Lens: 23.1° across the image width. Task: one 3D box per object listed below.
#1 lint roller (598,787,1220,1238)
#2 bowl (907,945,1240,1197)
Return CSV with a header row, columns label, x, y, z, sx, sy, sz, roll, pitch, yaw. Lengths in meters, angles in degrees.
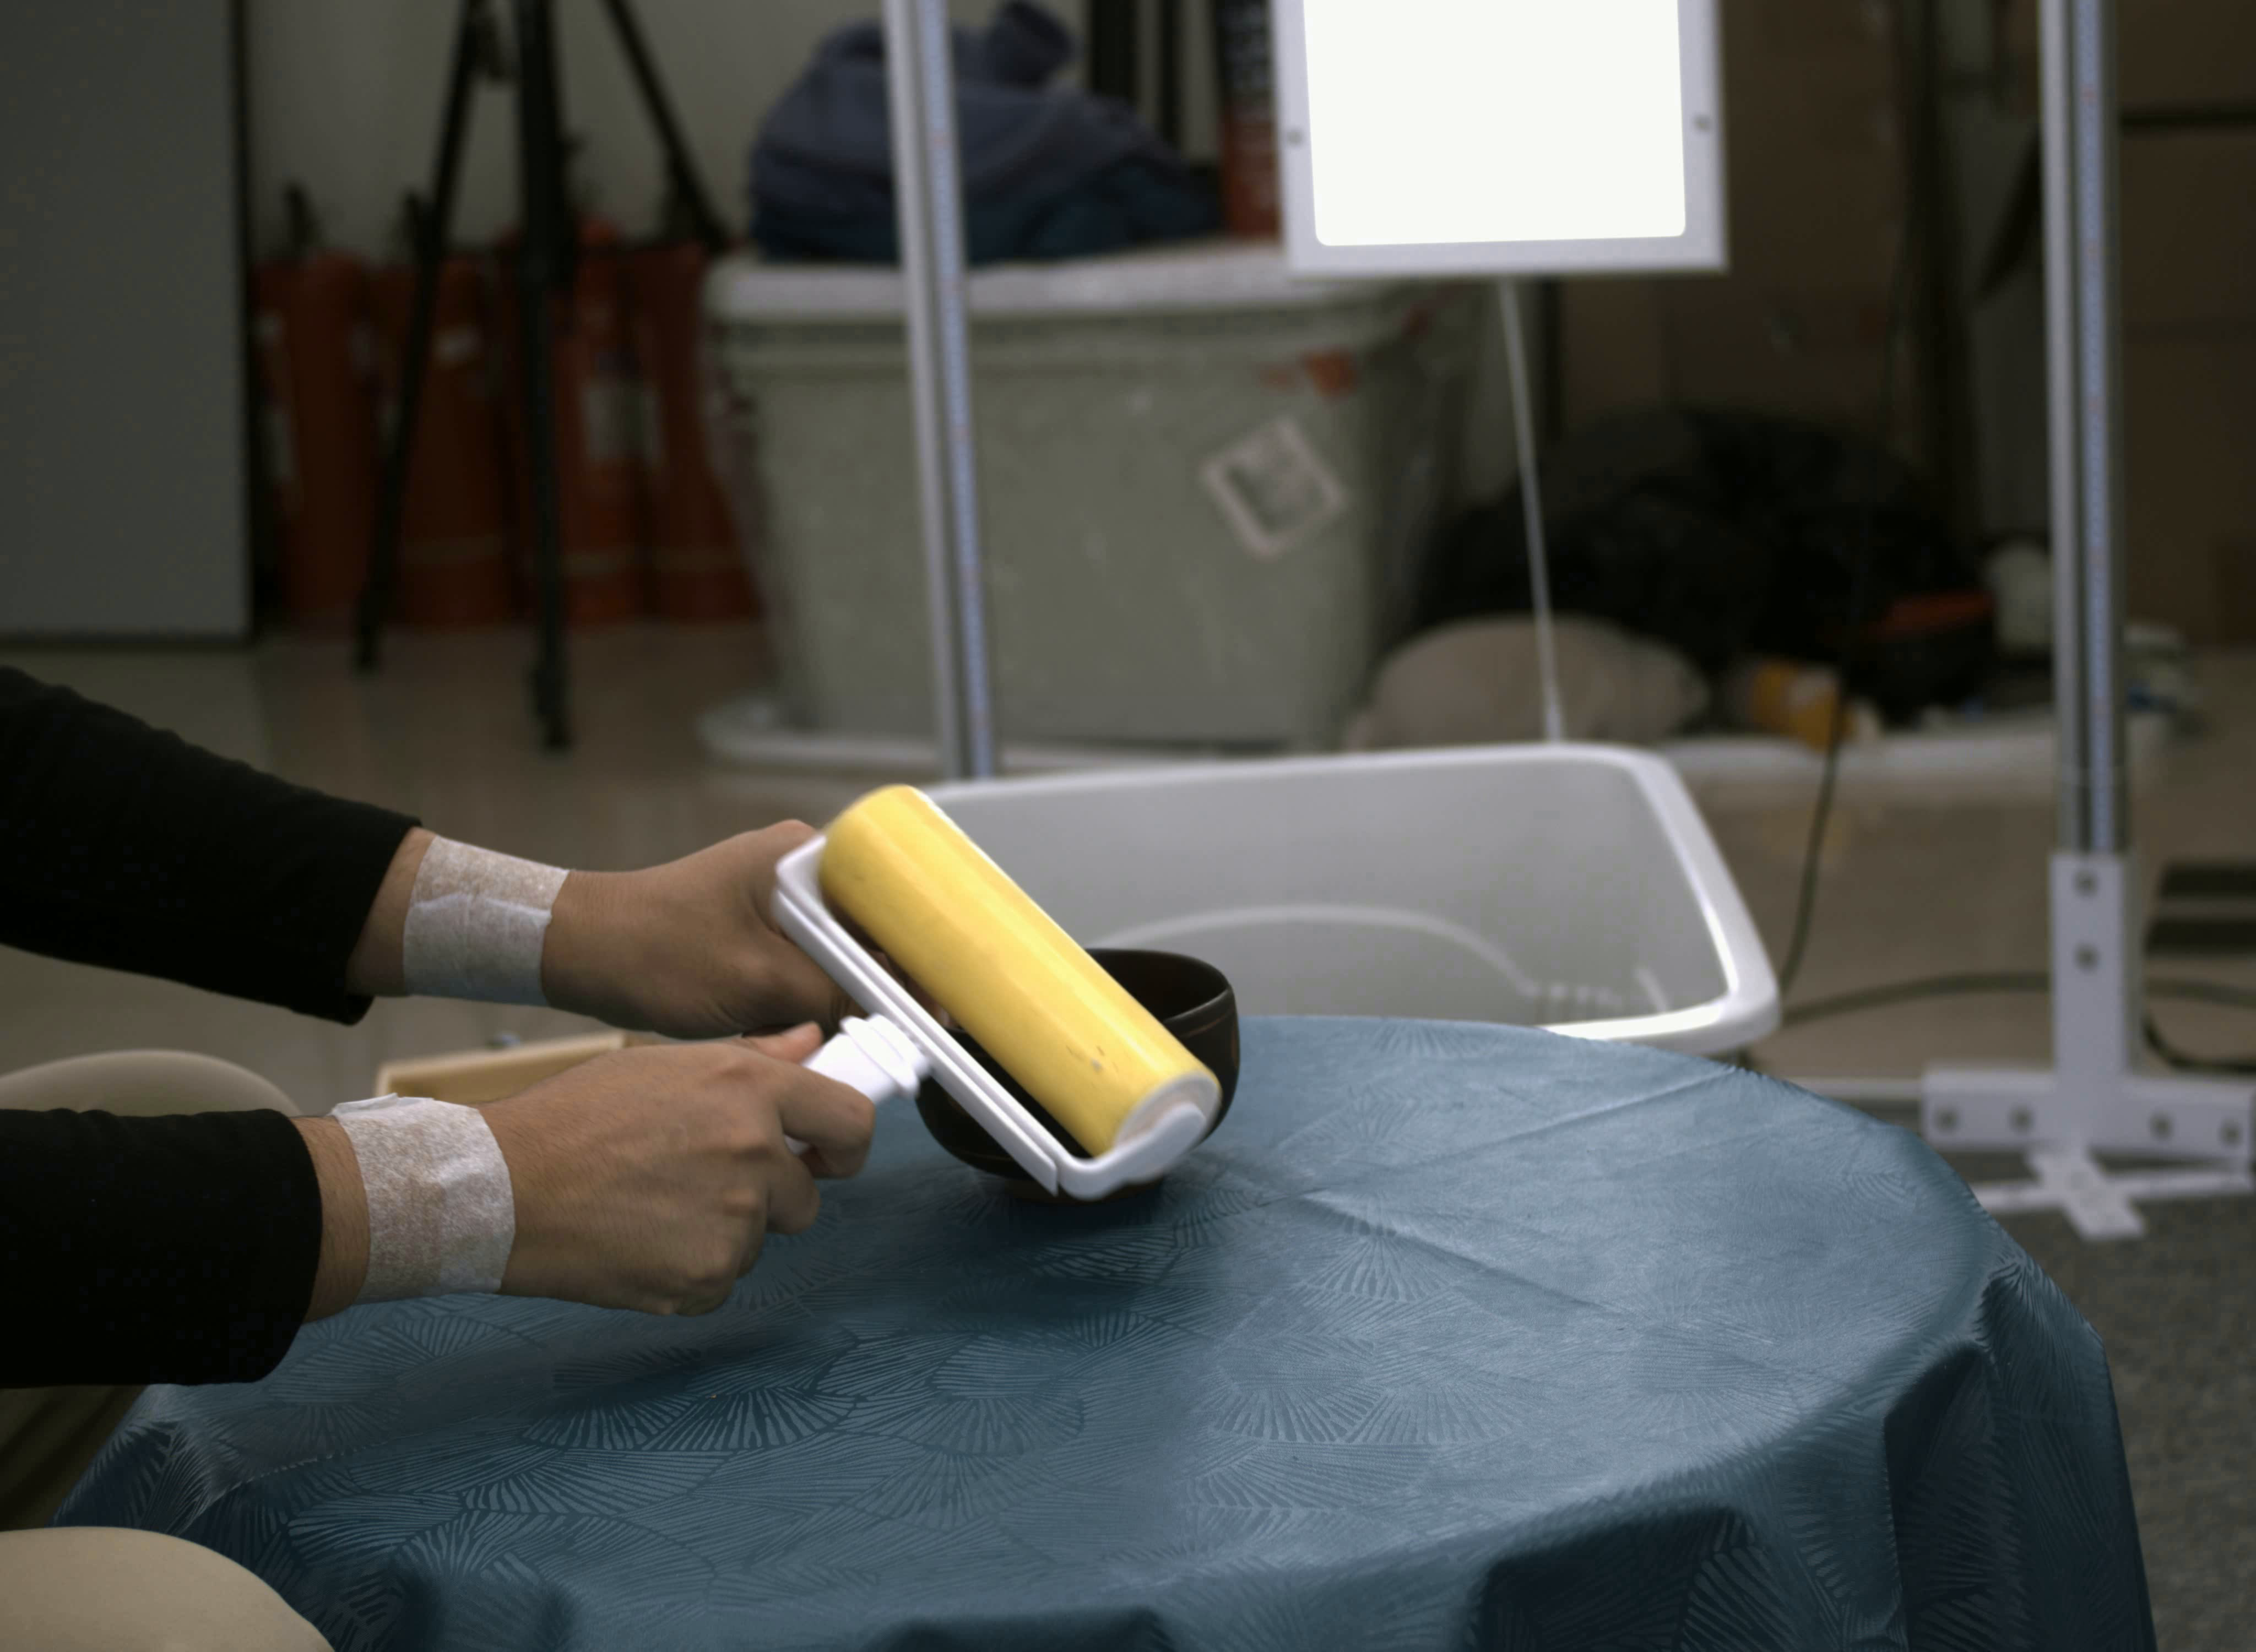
label,x,y,z,sx,sy,sz,roll,pitch,yaw
lint roller,-0.092,0.076,1.793,0.187,0.052,0.176,-25,51,-35
bowl,-0.019,0.088,1.906,0.118,0.070,0.118,-5,12,0
